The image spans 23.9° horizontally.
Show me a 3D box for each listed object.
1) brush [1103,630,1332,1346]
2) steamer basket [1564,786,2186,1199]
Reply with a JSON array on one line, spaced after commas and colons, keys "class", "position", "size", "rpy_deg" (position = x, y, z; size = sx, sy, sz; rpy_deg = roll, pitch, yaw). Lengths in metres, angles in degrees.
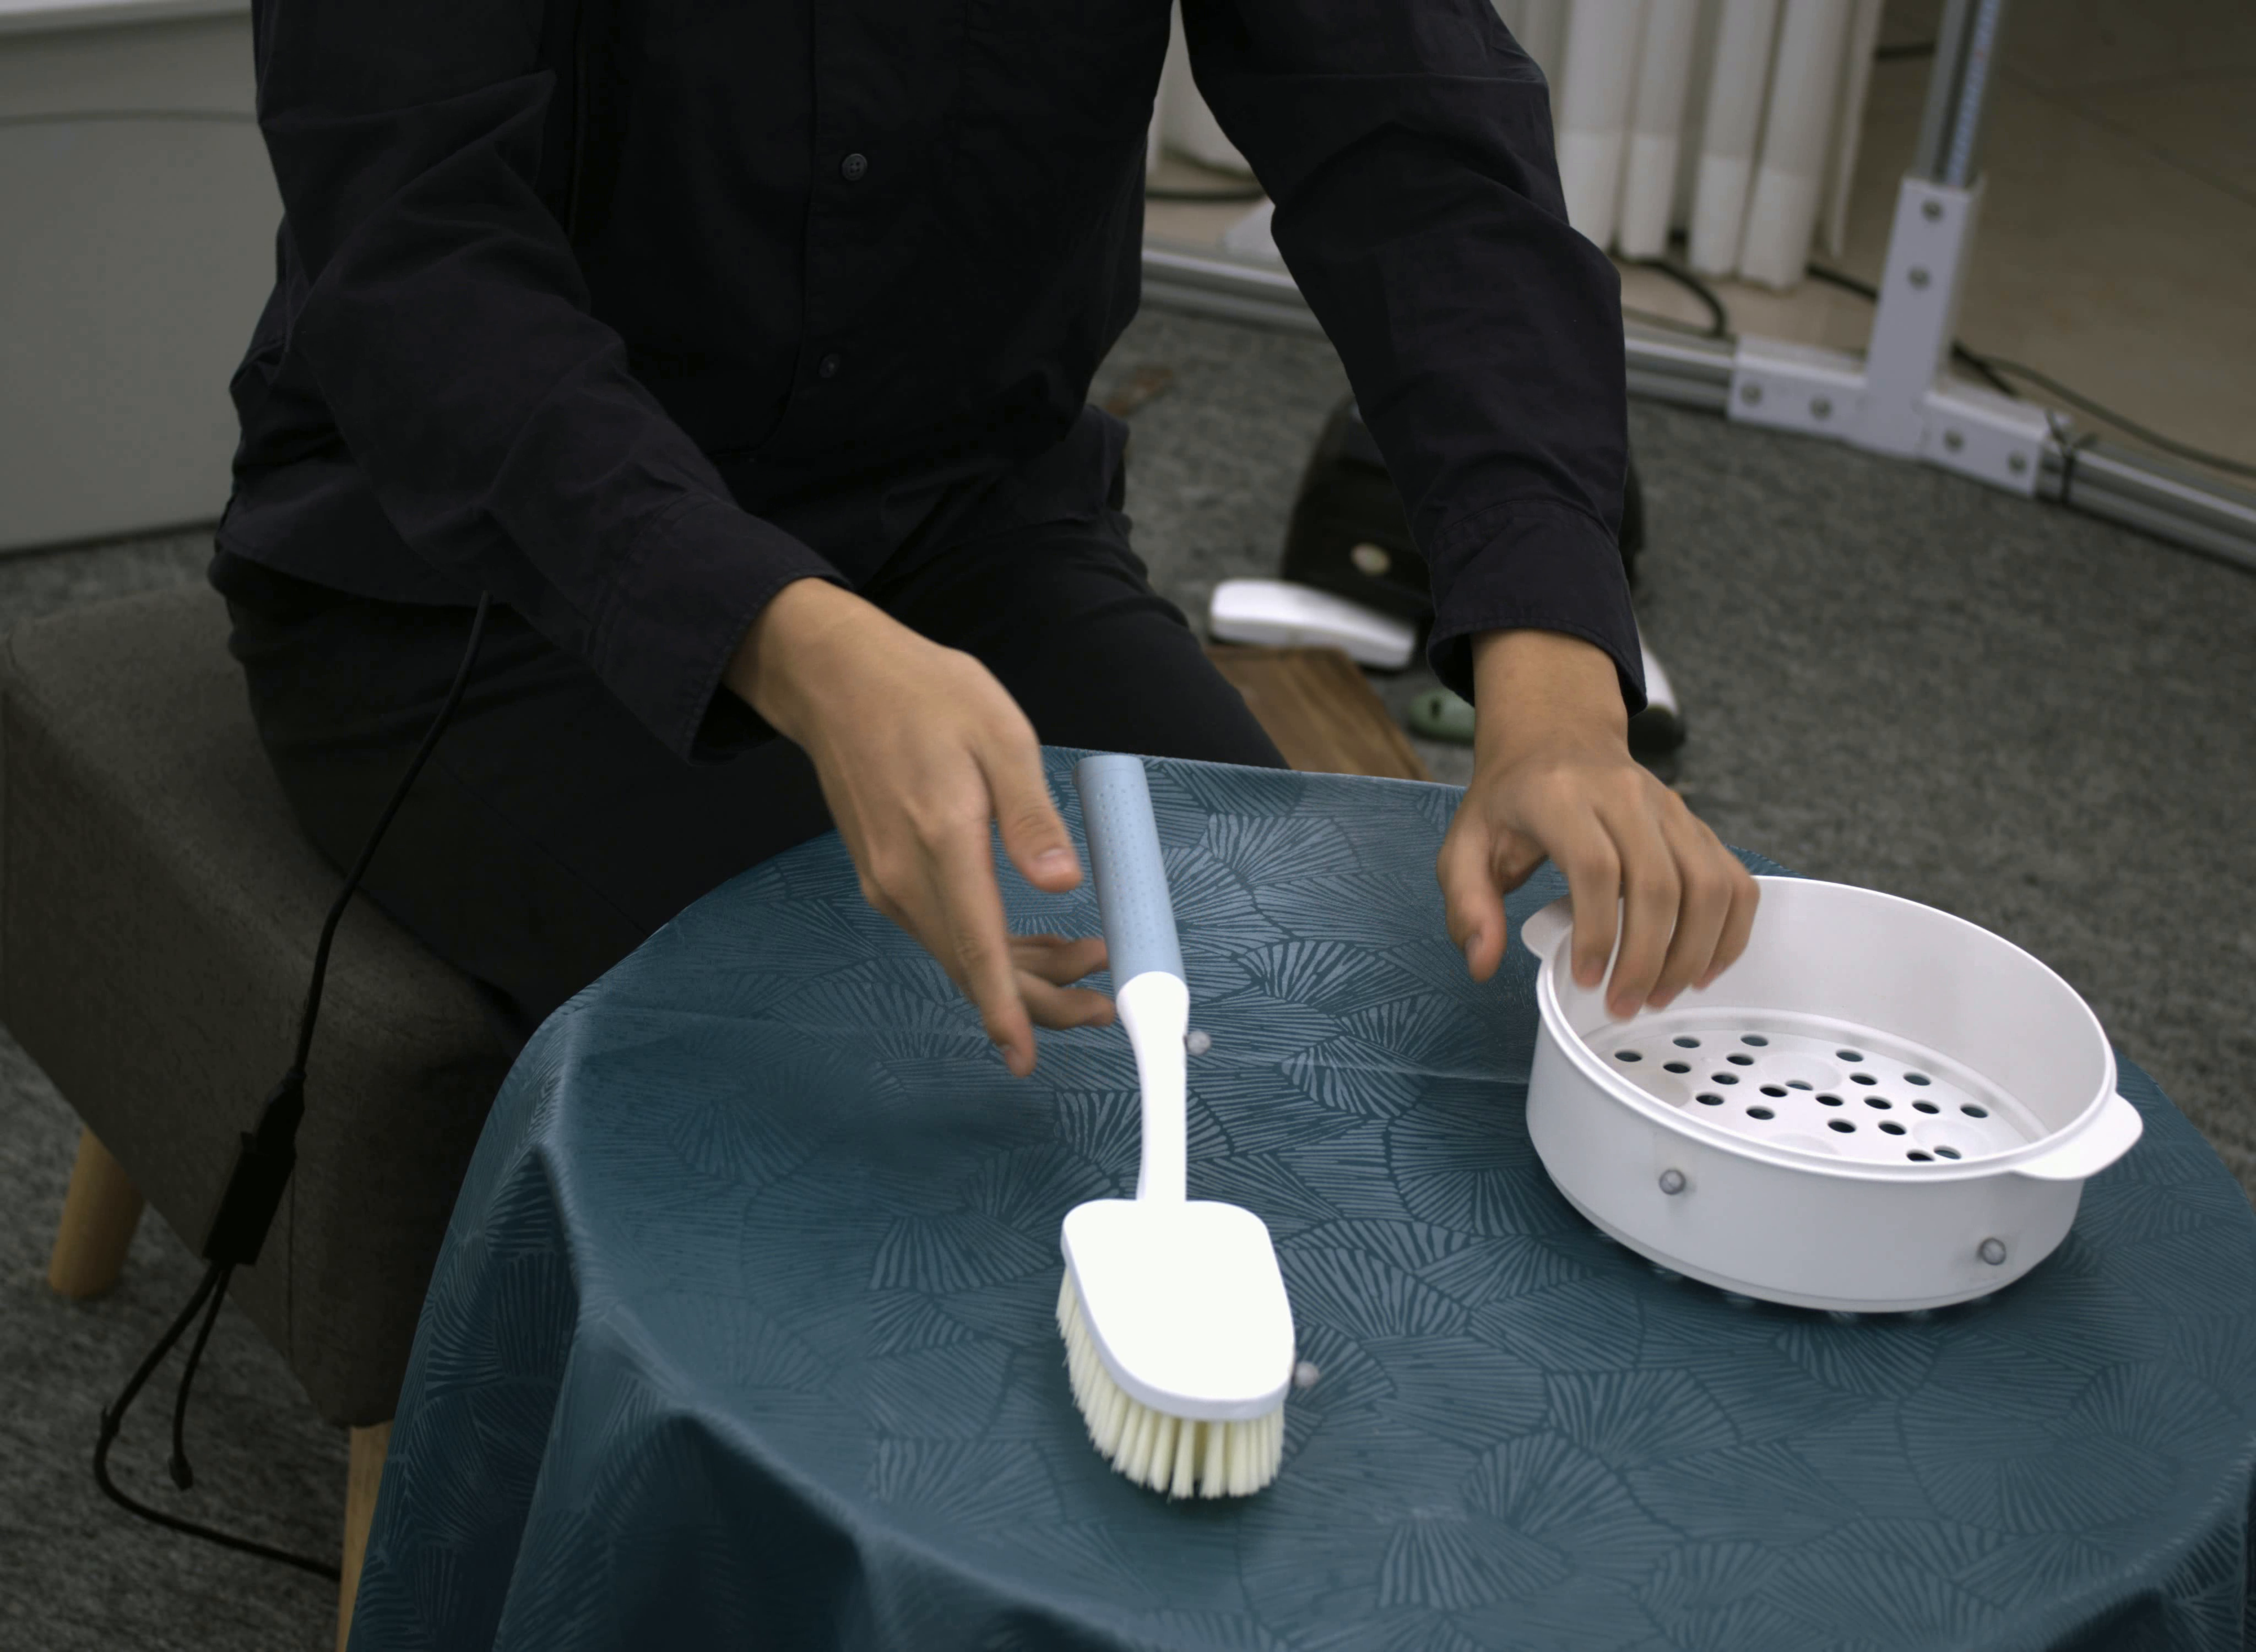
[{"class": "brush", "position": [0.024, 0.062, 1.782], "size": [0.082, 0.084, 0.328], "rpy_deg": [35, 27, -30]}, {"class": "steamer basket", "position": [0.254, 0.059, 1.859], "size": [0.232, 0.069, 0.201], "rpy_deg": [24, 31, 31]}]
